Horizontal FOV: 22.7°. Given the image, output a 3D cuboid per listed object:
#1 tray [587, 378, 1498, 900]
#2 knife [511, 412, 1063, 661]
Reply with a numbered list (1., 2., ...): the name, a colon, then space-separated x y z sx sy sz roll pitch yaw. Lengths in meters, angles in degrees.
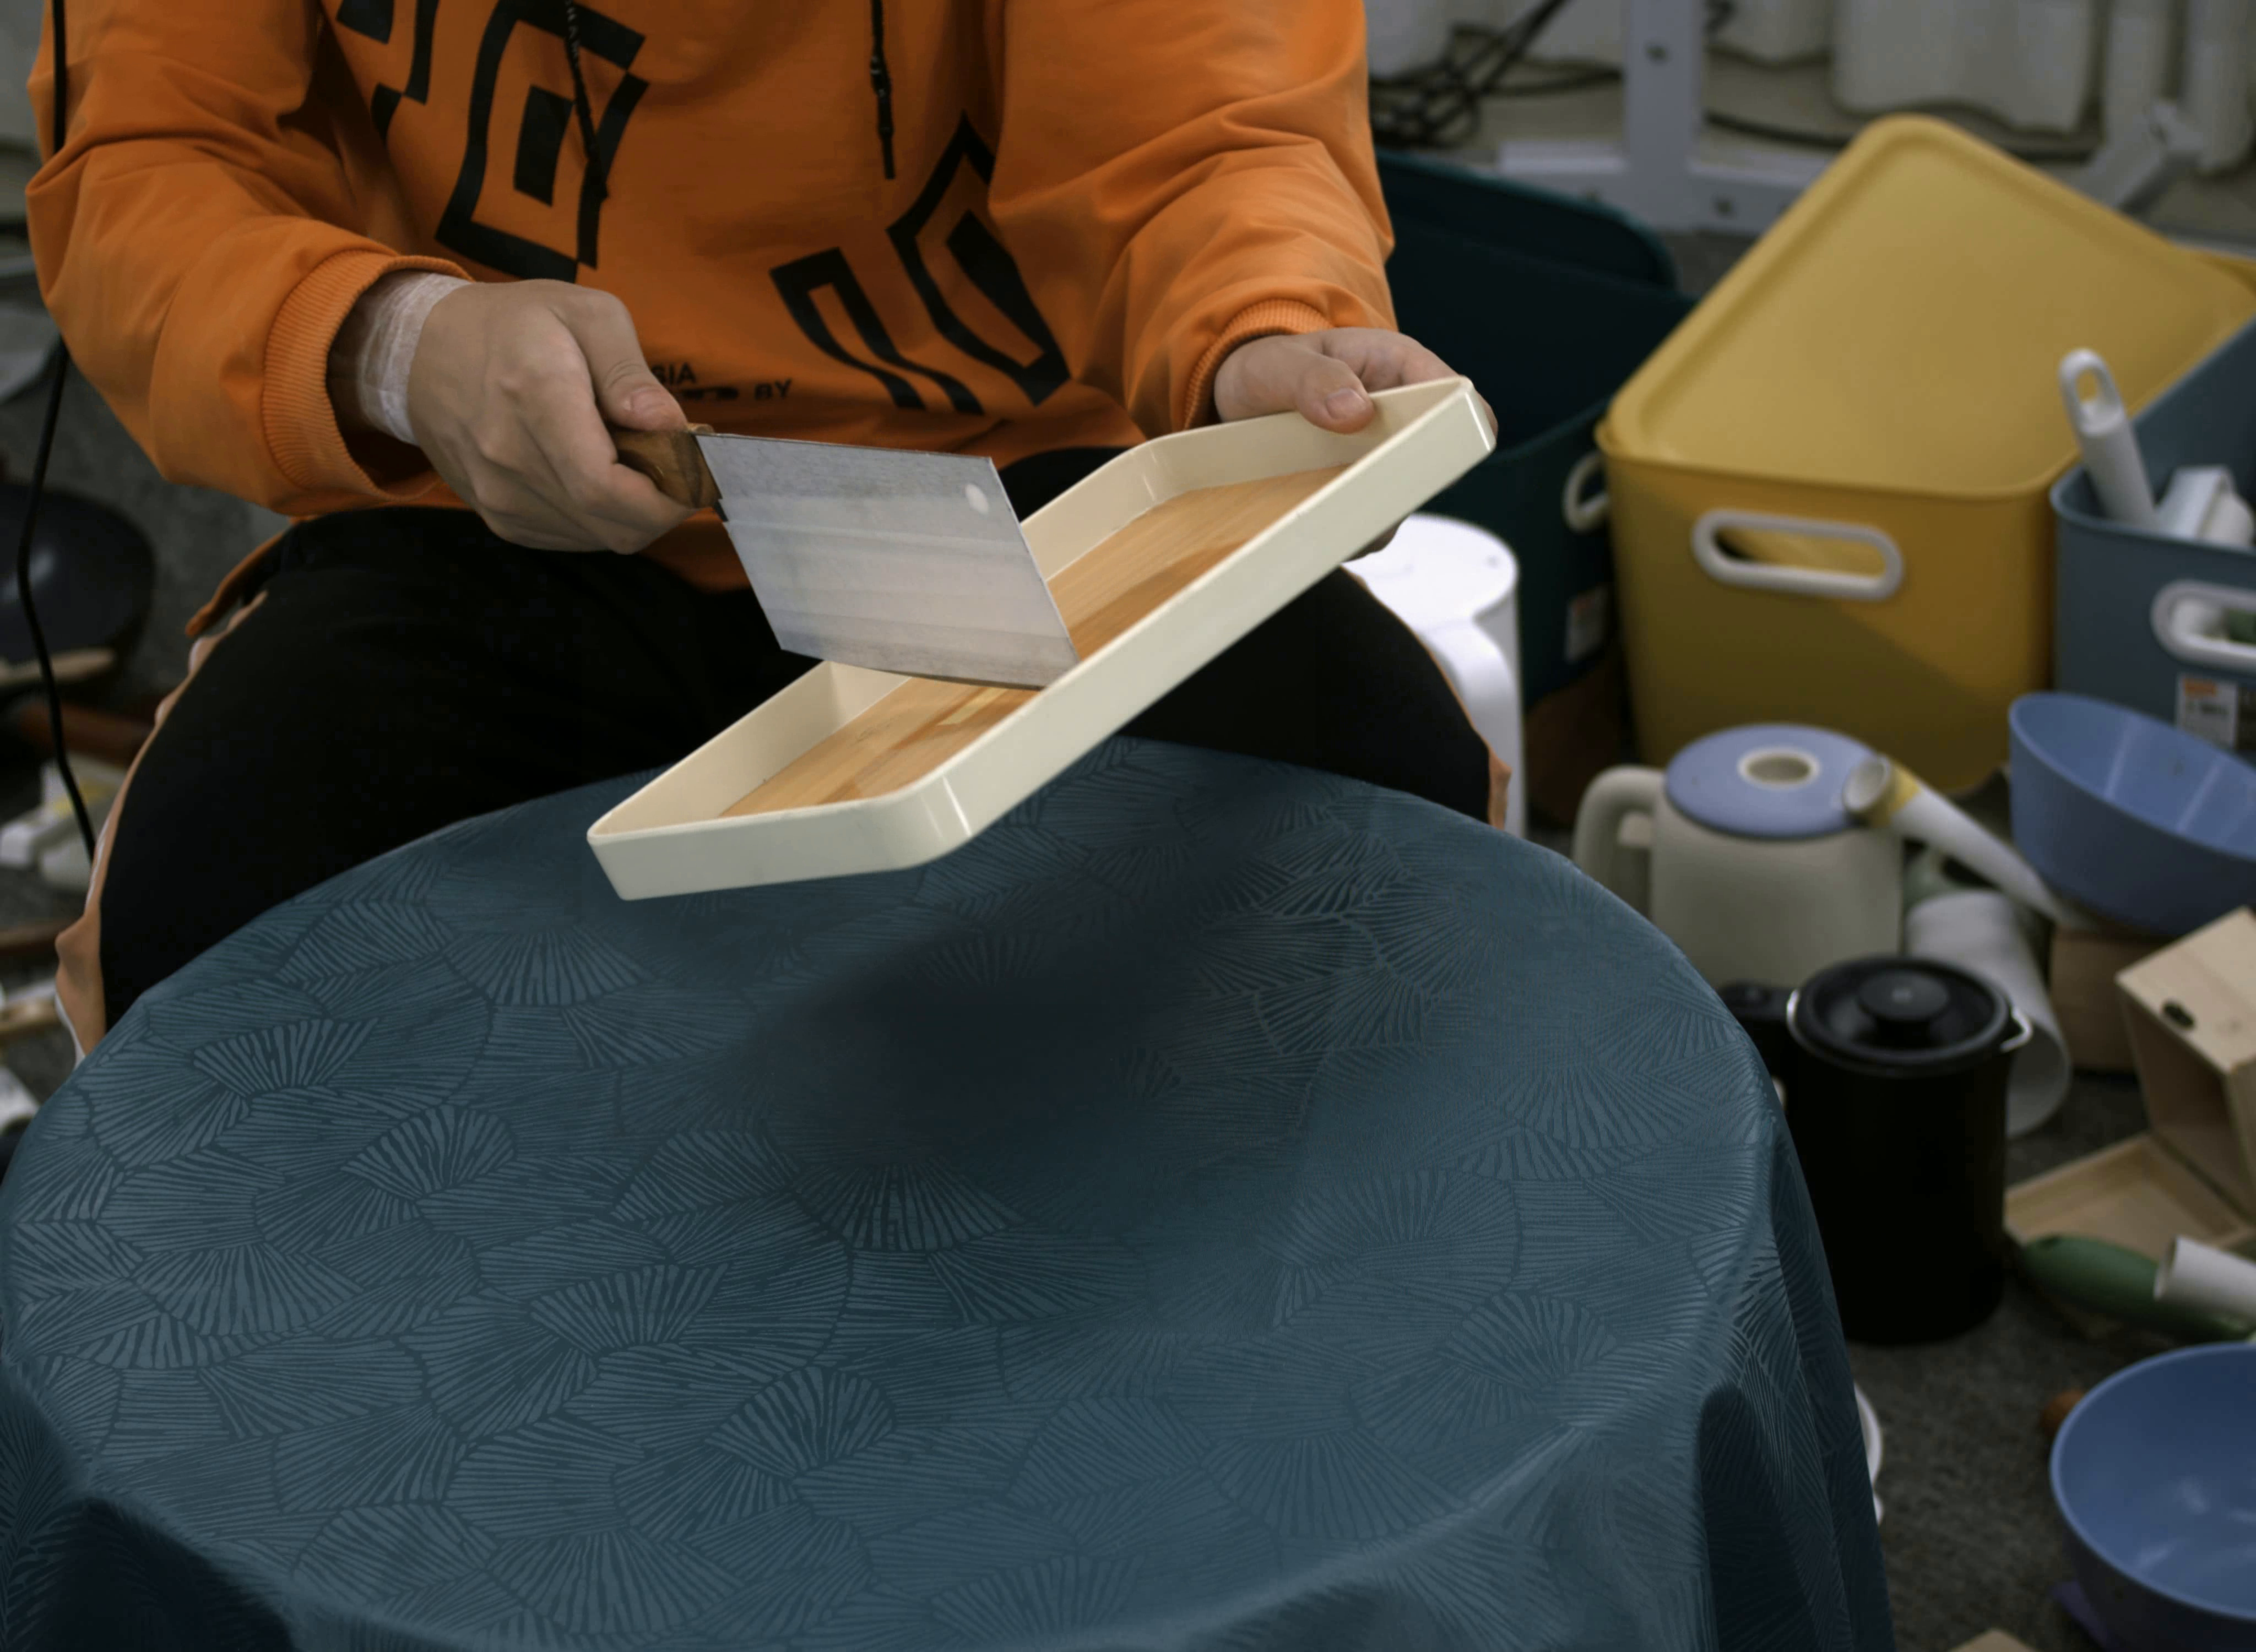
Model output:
1. tray: -0.026 -0.063 1.901 0.189 0.027 0.305 -7 24 49
2. knife: -0.117 -0.098 1.931 0.021 0.092 0.304 -35 24 -27
